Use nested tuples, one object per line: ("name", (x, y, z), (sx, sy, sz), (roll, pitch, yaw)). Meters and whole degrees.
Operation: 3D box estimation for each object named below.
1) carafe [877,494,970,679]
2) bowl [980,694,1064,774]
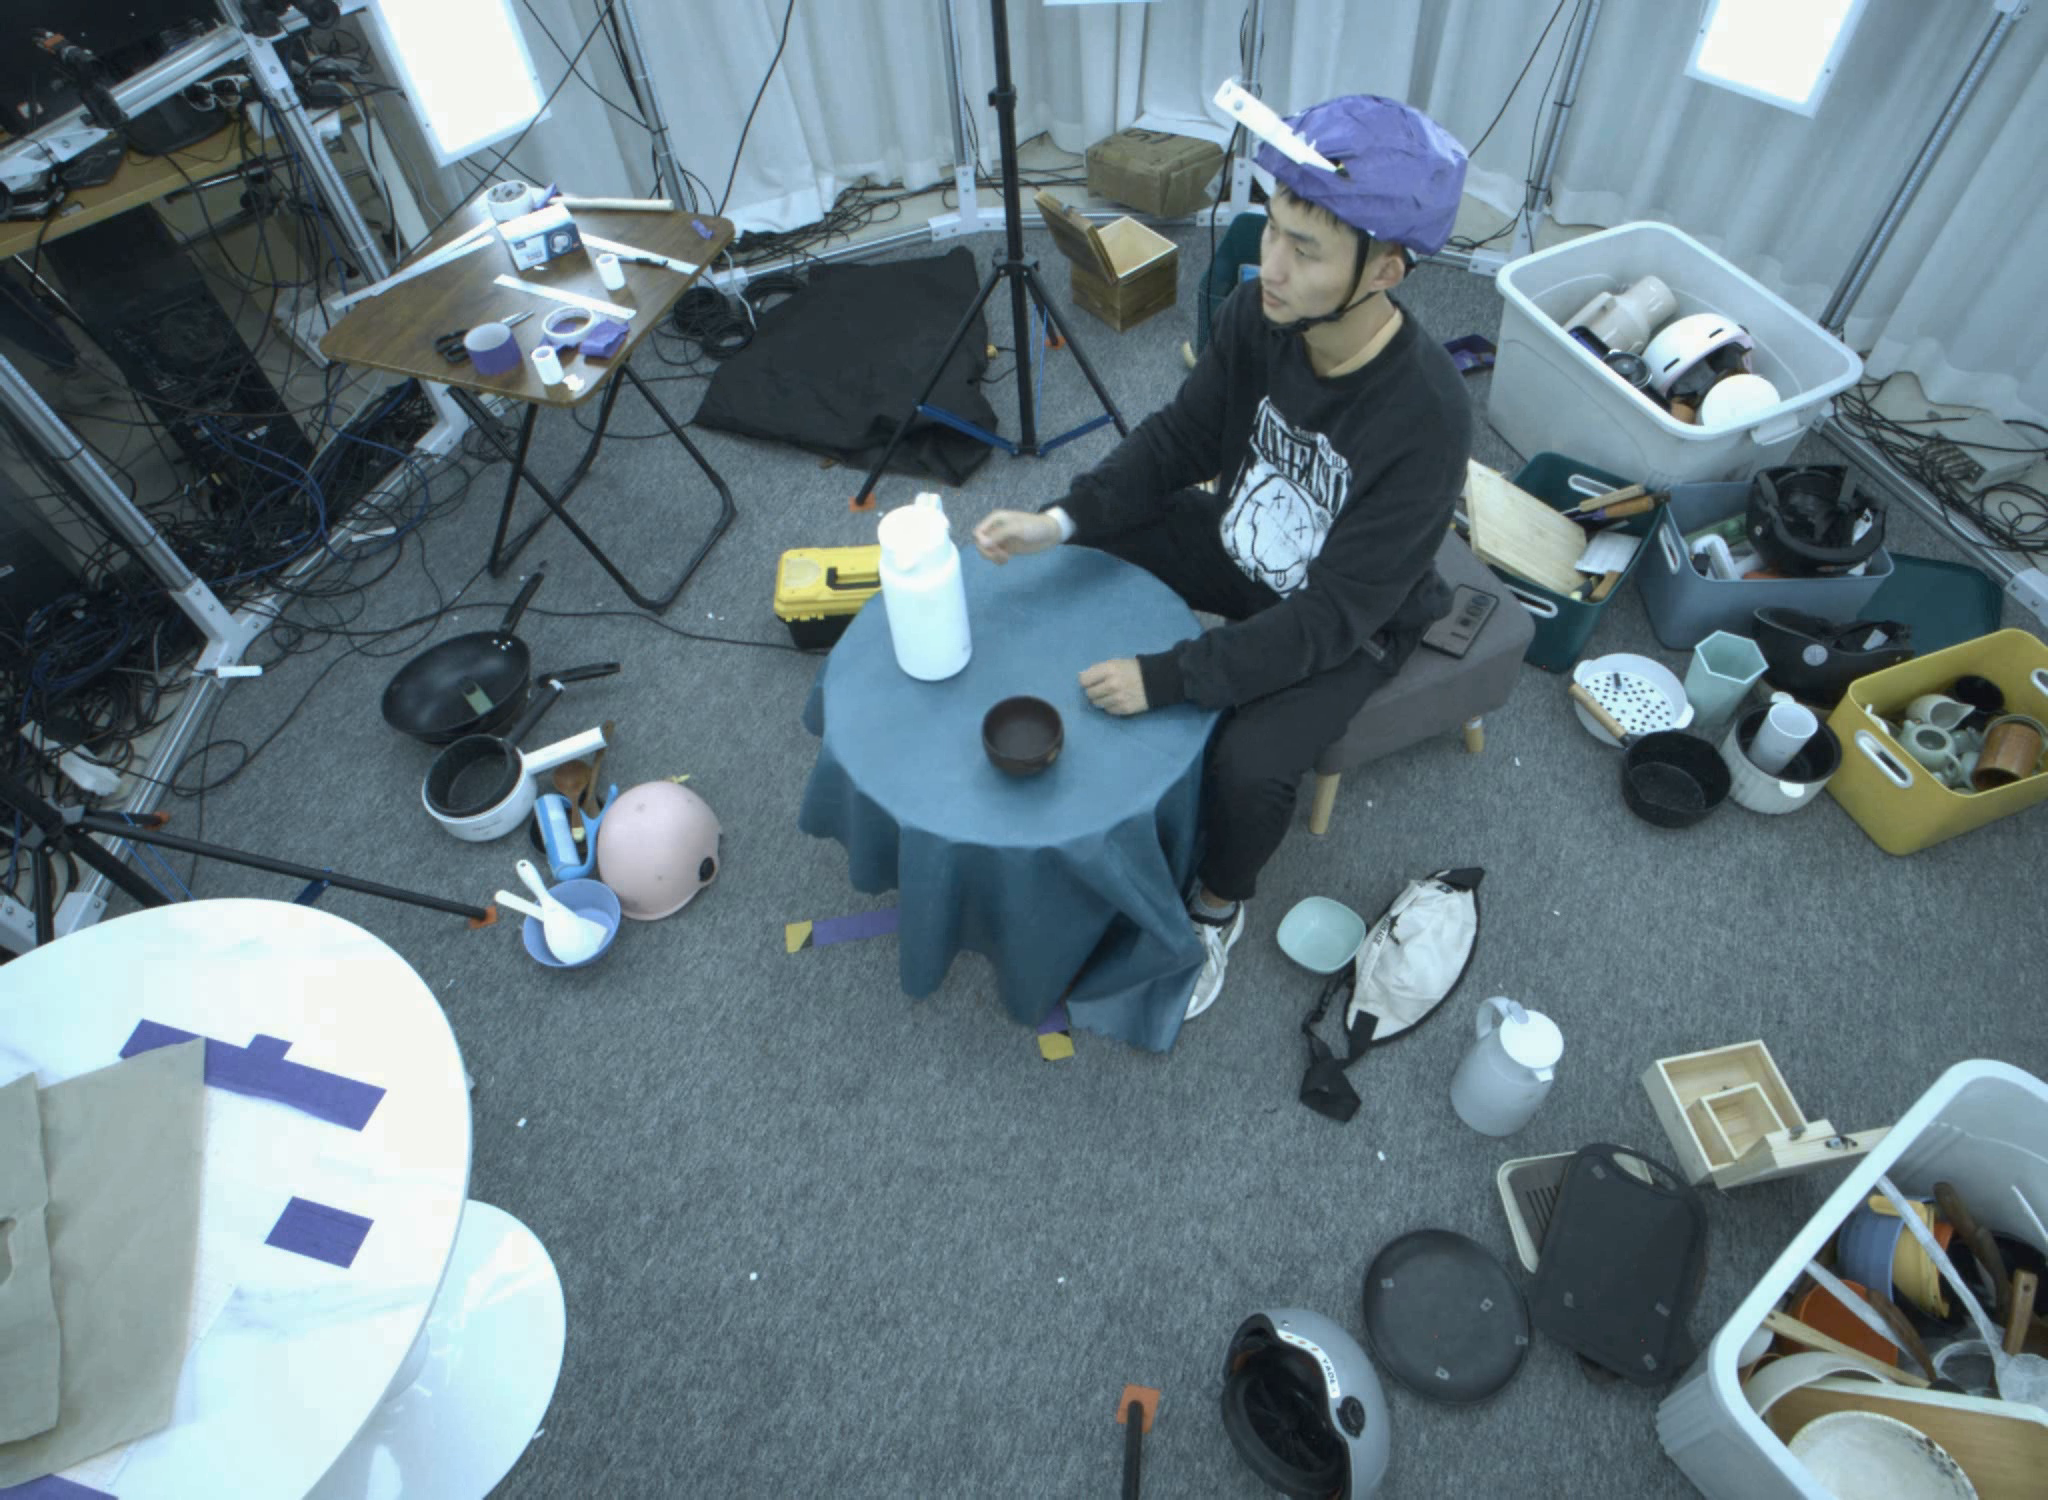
("carafe", (-0.147, -0.242, 1.796), (0.123, 0.272, 0.171), (3, 55, 8))
("bowl", (-0.002, -0.015, 1.748), (0.118, 0.070, 0.117), (-1, 54, 2))
